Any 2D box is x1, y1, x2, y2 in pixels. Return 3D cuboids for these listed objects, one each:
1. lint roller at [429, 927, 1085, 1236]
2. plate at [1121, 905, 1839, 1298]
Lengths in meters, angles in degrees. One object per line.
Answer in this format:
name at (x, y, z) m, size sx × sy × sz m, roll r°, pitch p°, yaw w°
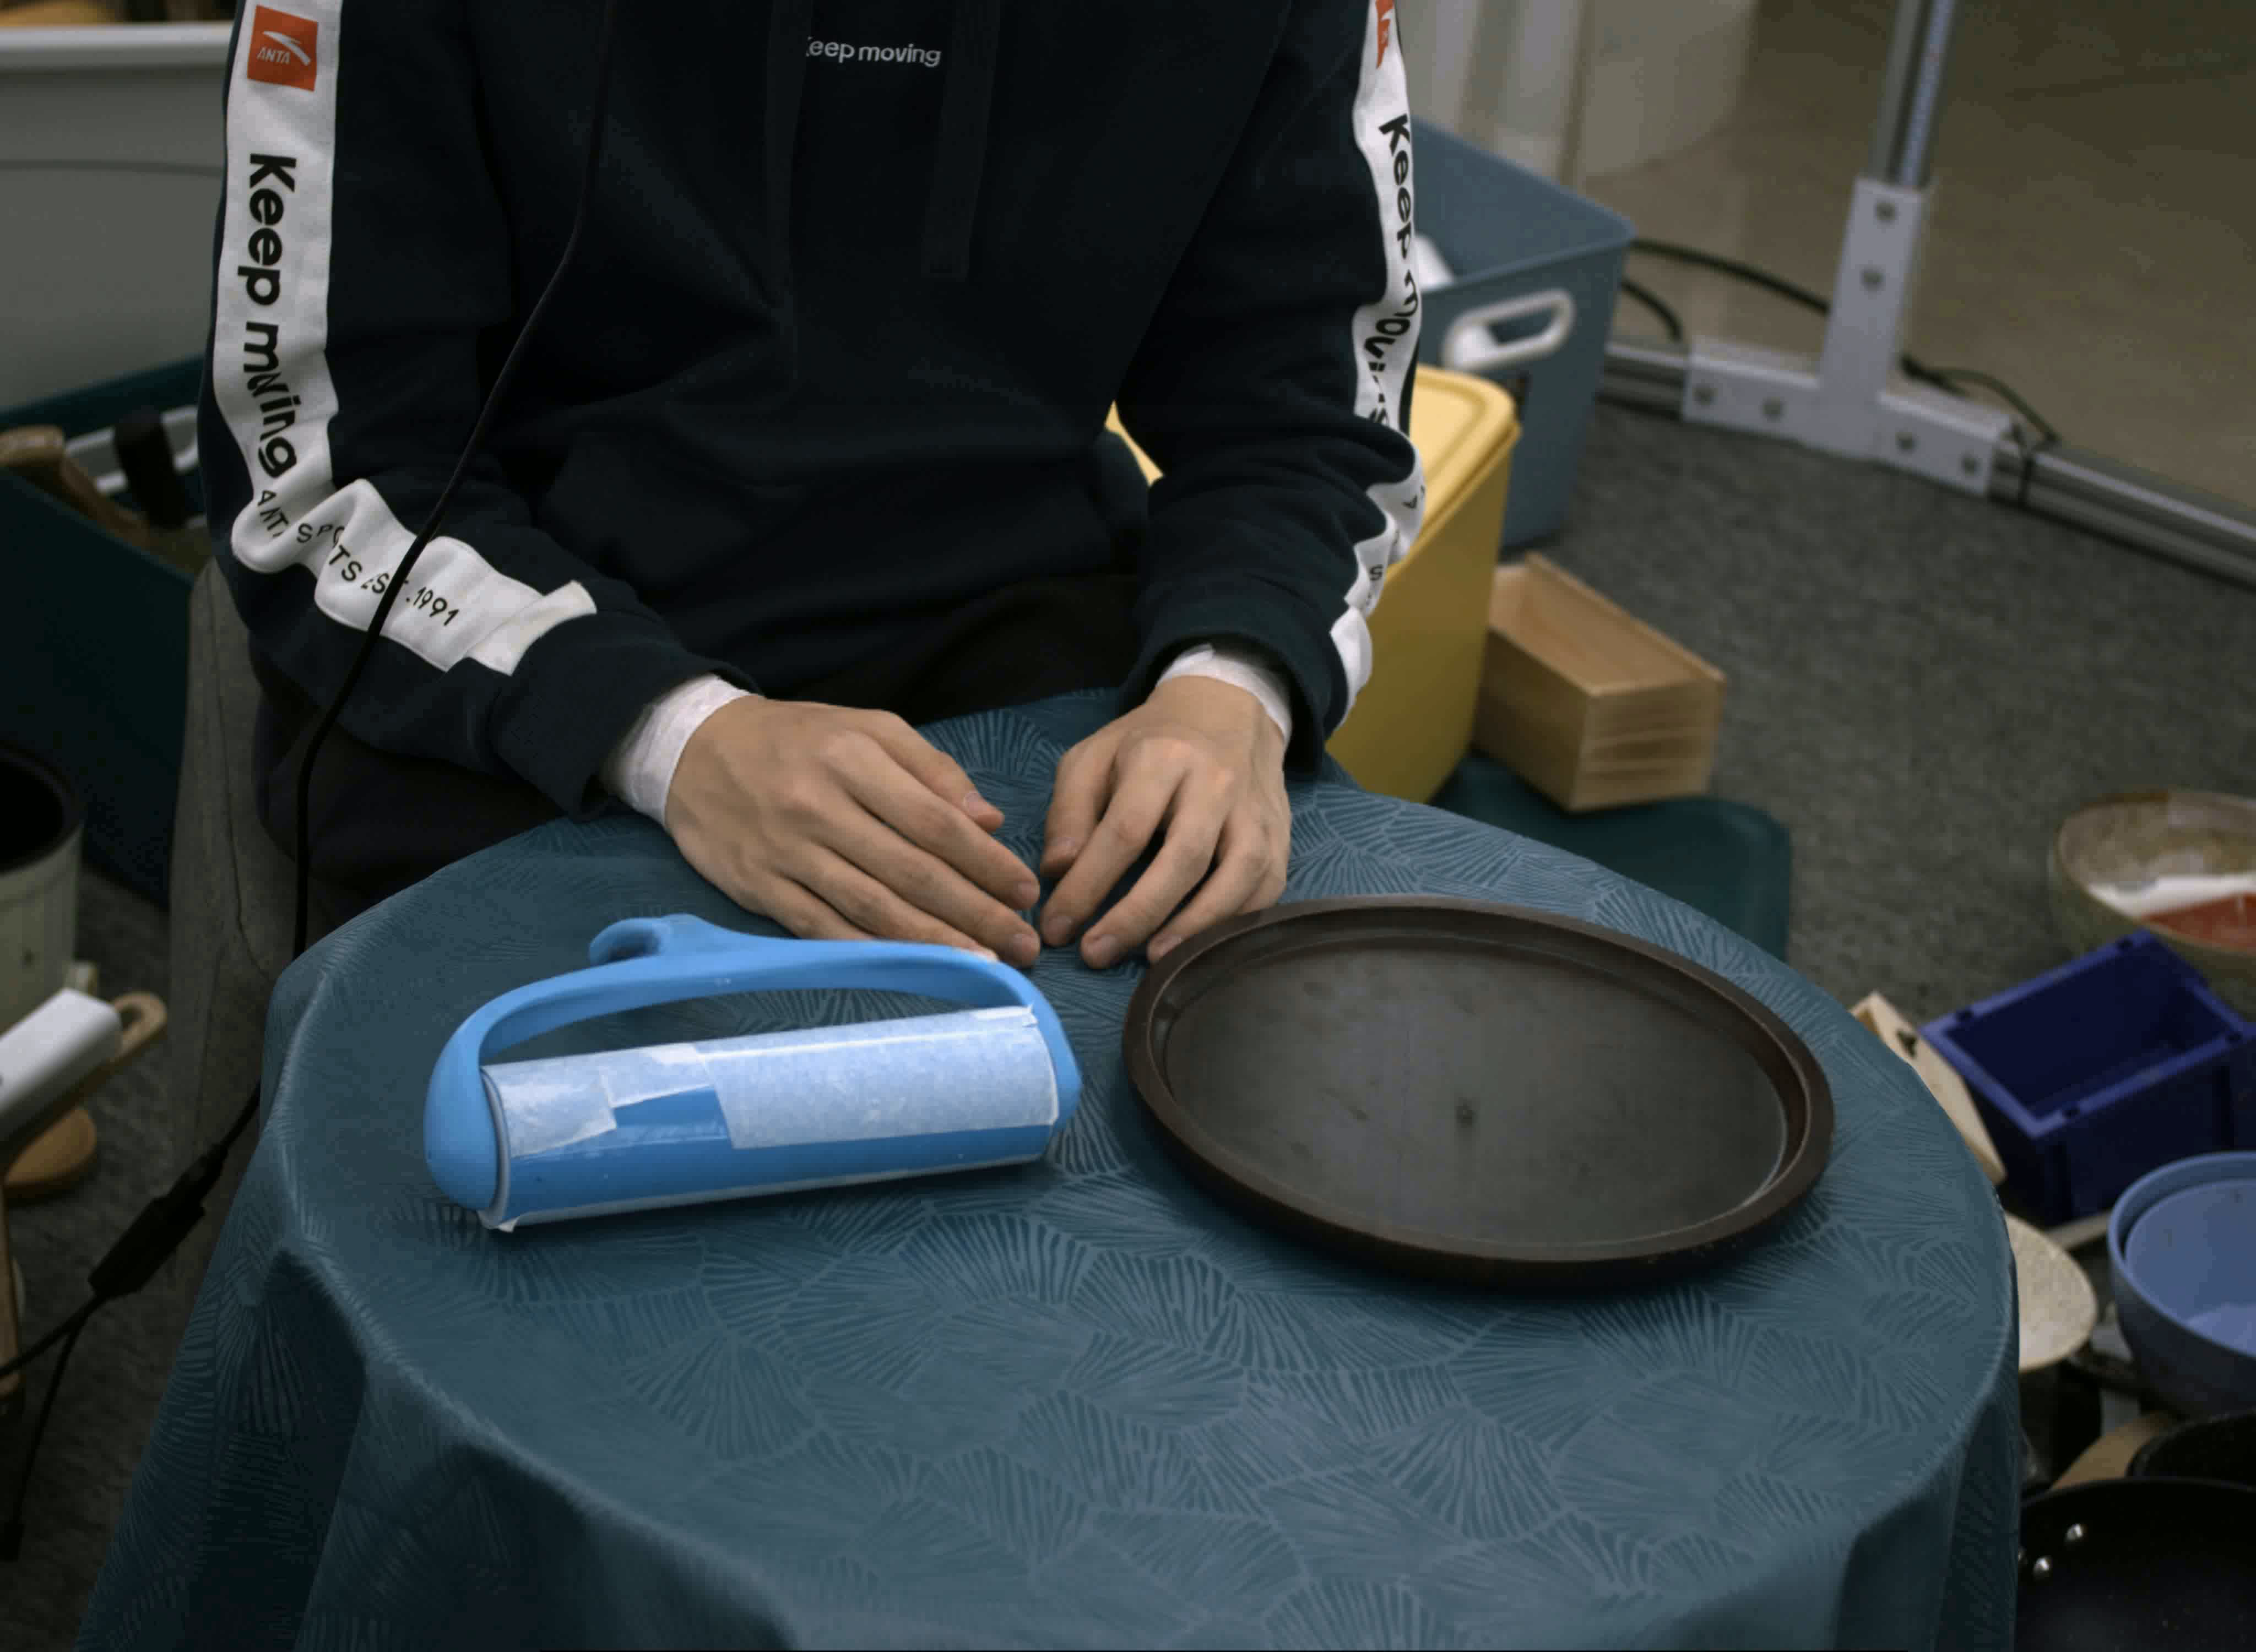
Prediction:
lint roller at (-0.146, 0.069, 1.811) m, size 0.227 × 0.067 × 0.182 m, roll -8°, pitch 31°, yaw -24°
plate at (0.122, 0.094, 1.859) m, size 0.254 × 0.029 × 0.256 m, roll 6°, pitch 28°, yaw -3°
